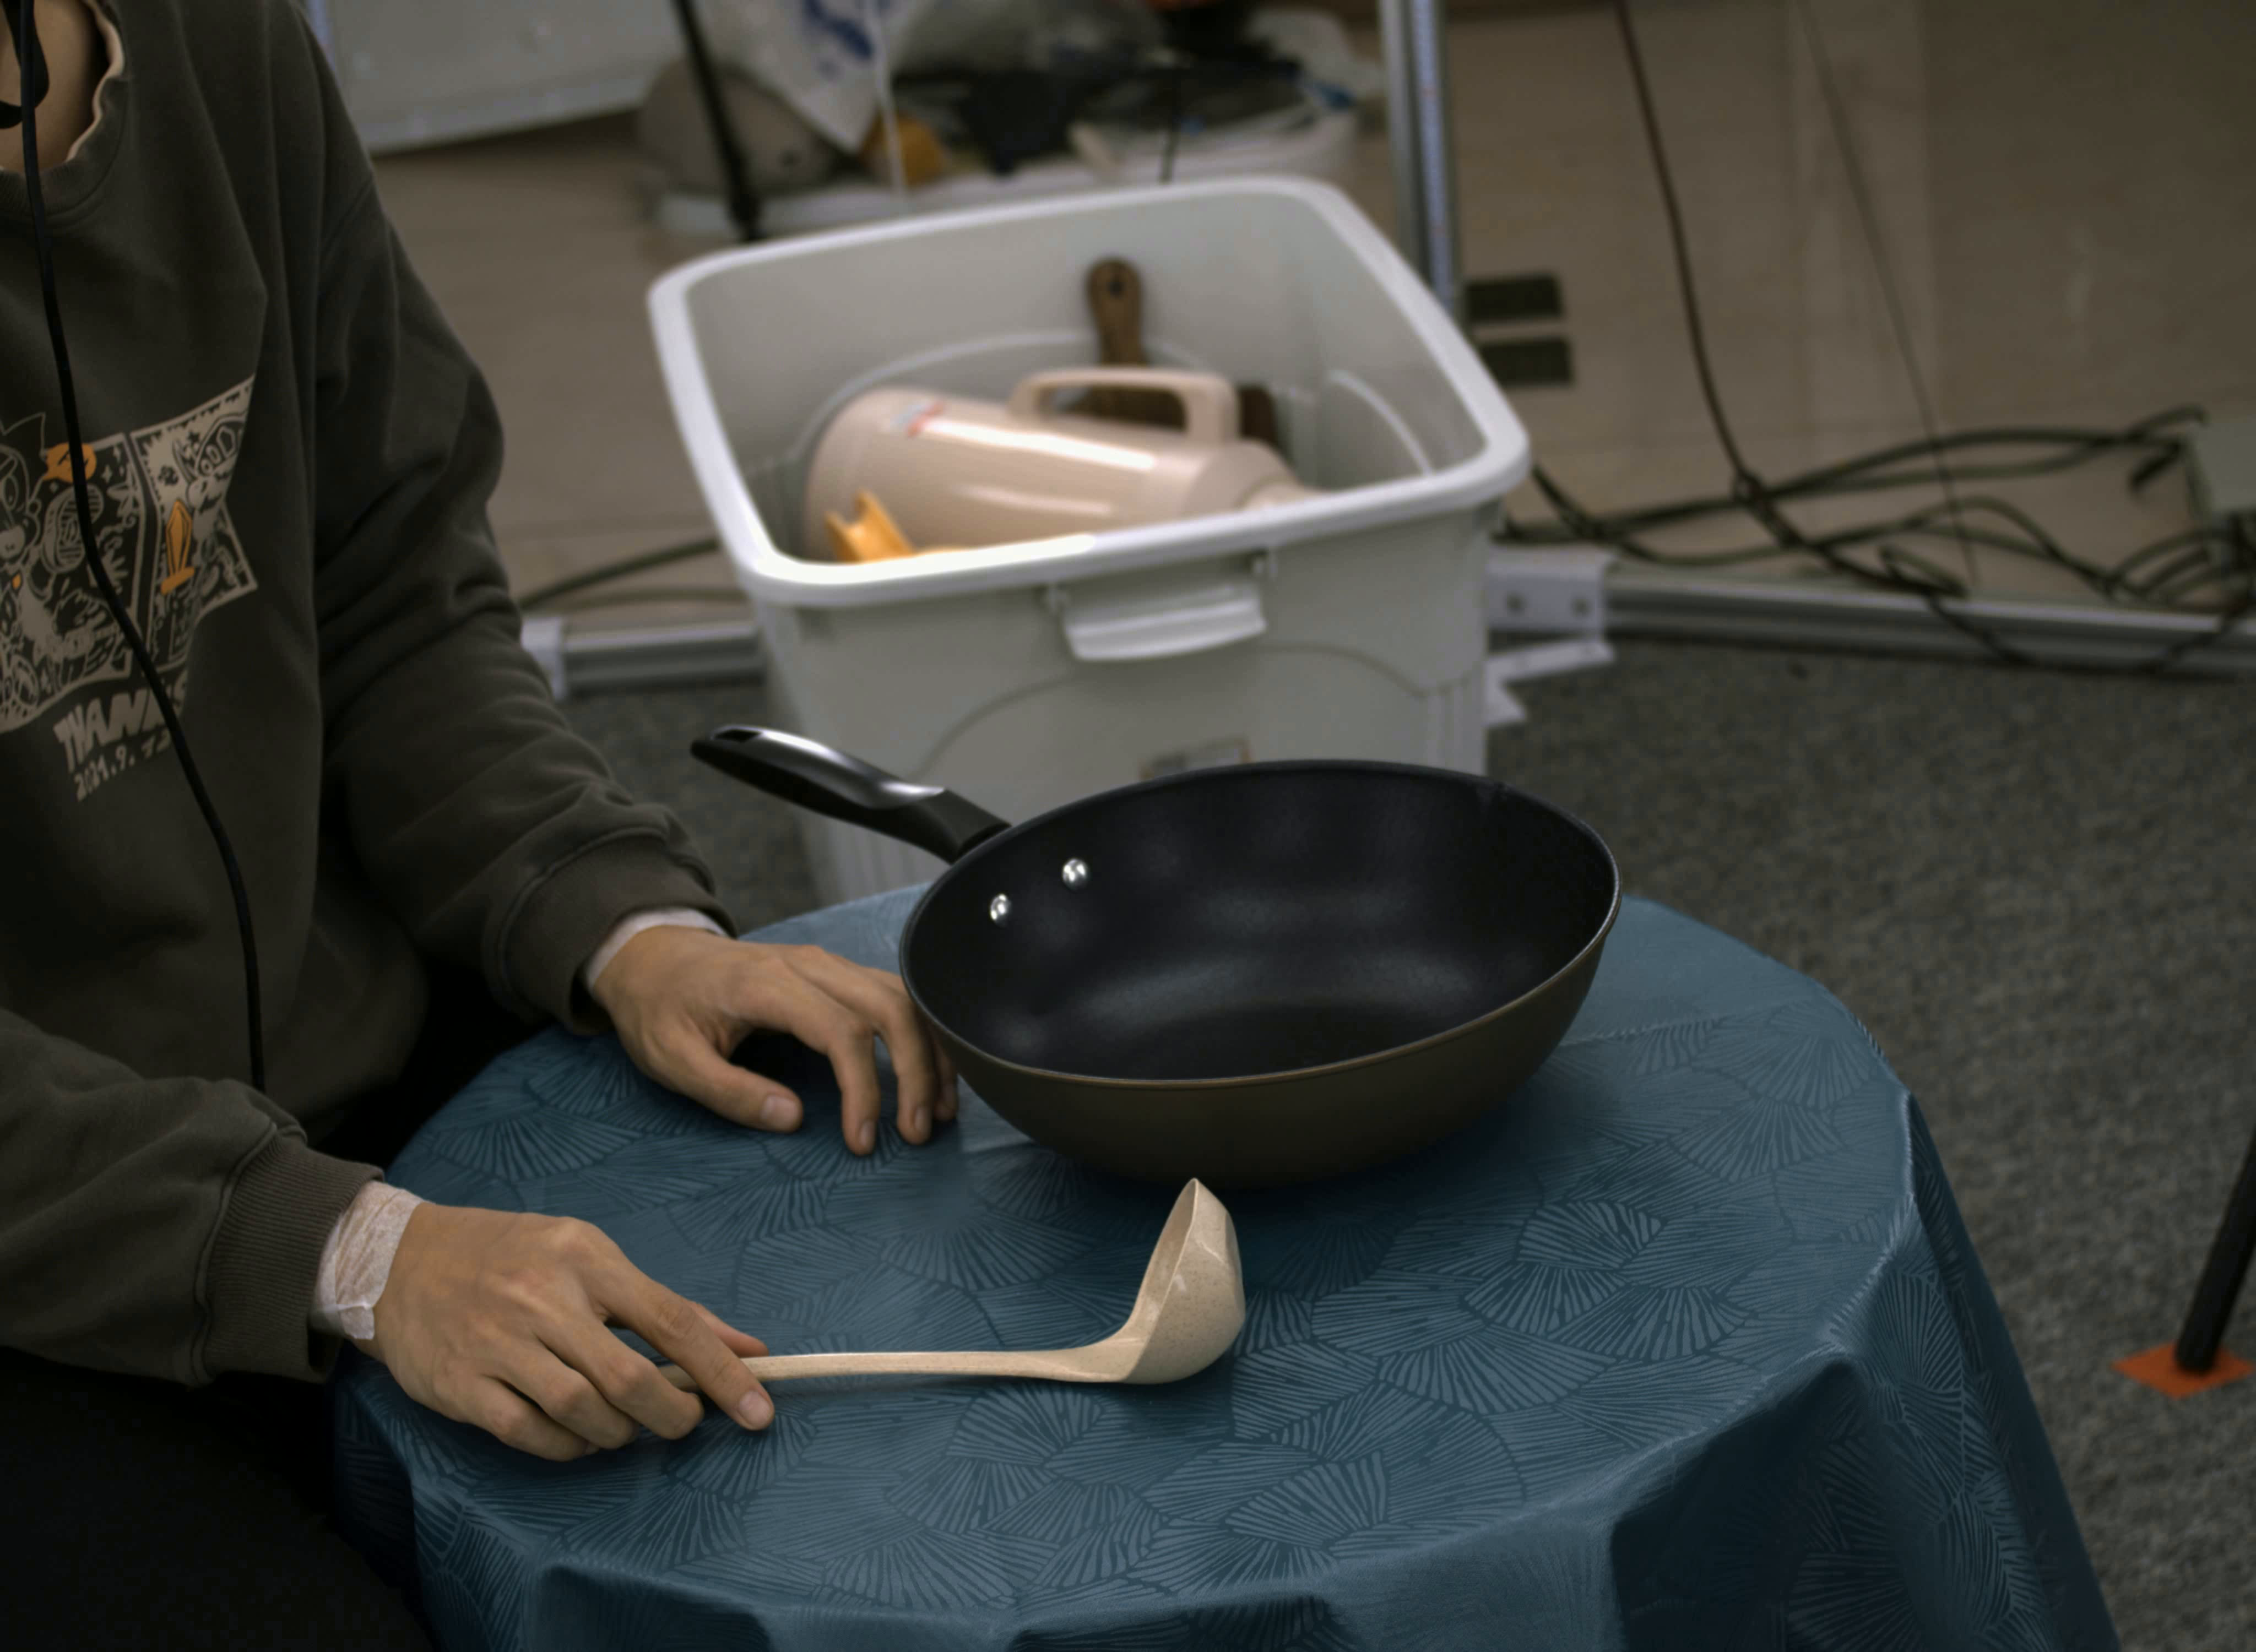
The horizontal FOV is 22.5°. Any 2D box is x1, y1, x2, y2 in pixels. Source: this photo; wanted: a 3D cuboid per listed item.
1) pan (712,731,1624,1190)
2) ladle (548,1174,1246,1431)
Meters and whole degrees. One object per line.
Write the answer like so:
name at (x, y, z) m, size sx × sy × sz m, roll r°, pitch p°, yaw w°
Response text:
pan at (-0.010, 0.047, 2.246) m, size 0.285 × 0.088 × 0.460 m, roll -28°, pitch 31°, yaw -37°
ladle at (-0.086, 0.170, 2.015) m, size 0.254 × 0.074 × 0.071 m, roll -6°, pitch 30°, yaw 3°
